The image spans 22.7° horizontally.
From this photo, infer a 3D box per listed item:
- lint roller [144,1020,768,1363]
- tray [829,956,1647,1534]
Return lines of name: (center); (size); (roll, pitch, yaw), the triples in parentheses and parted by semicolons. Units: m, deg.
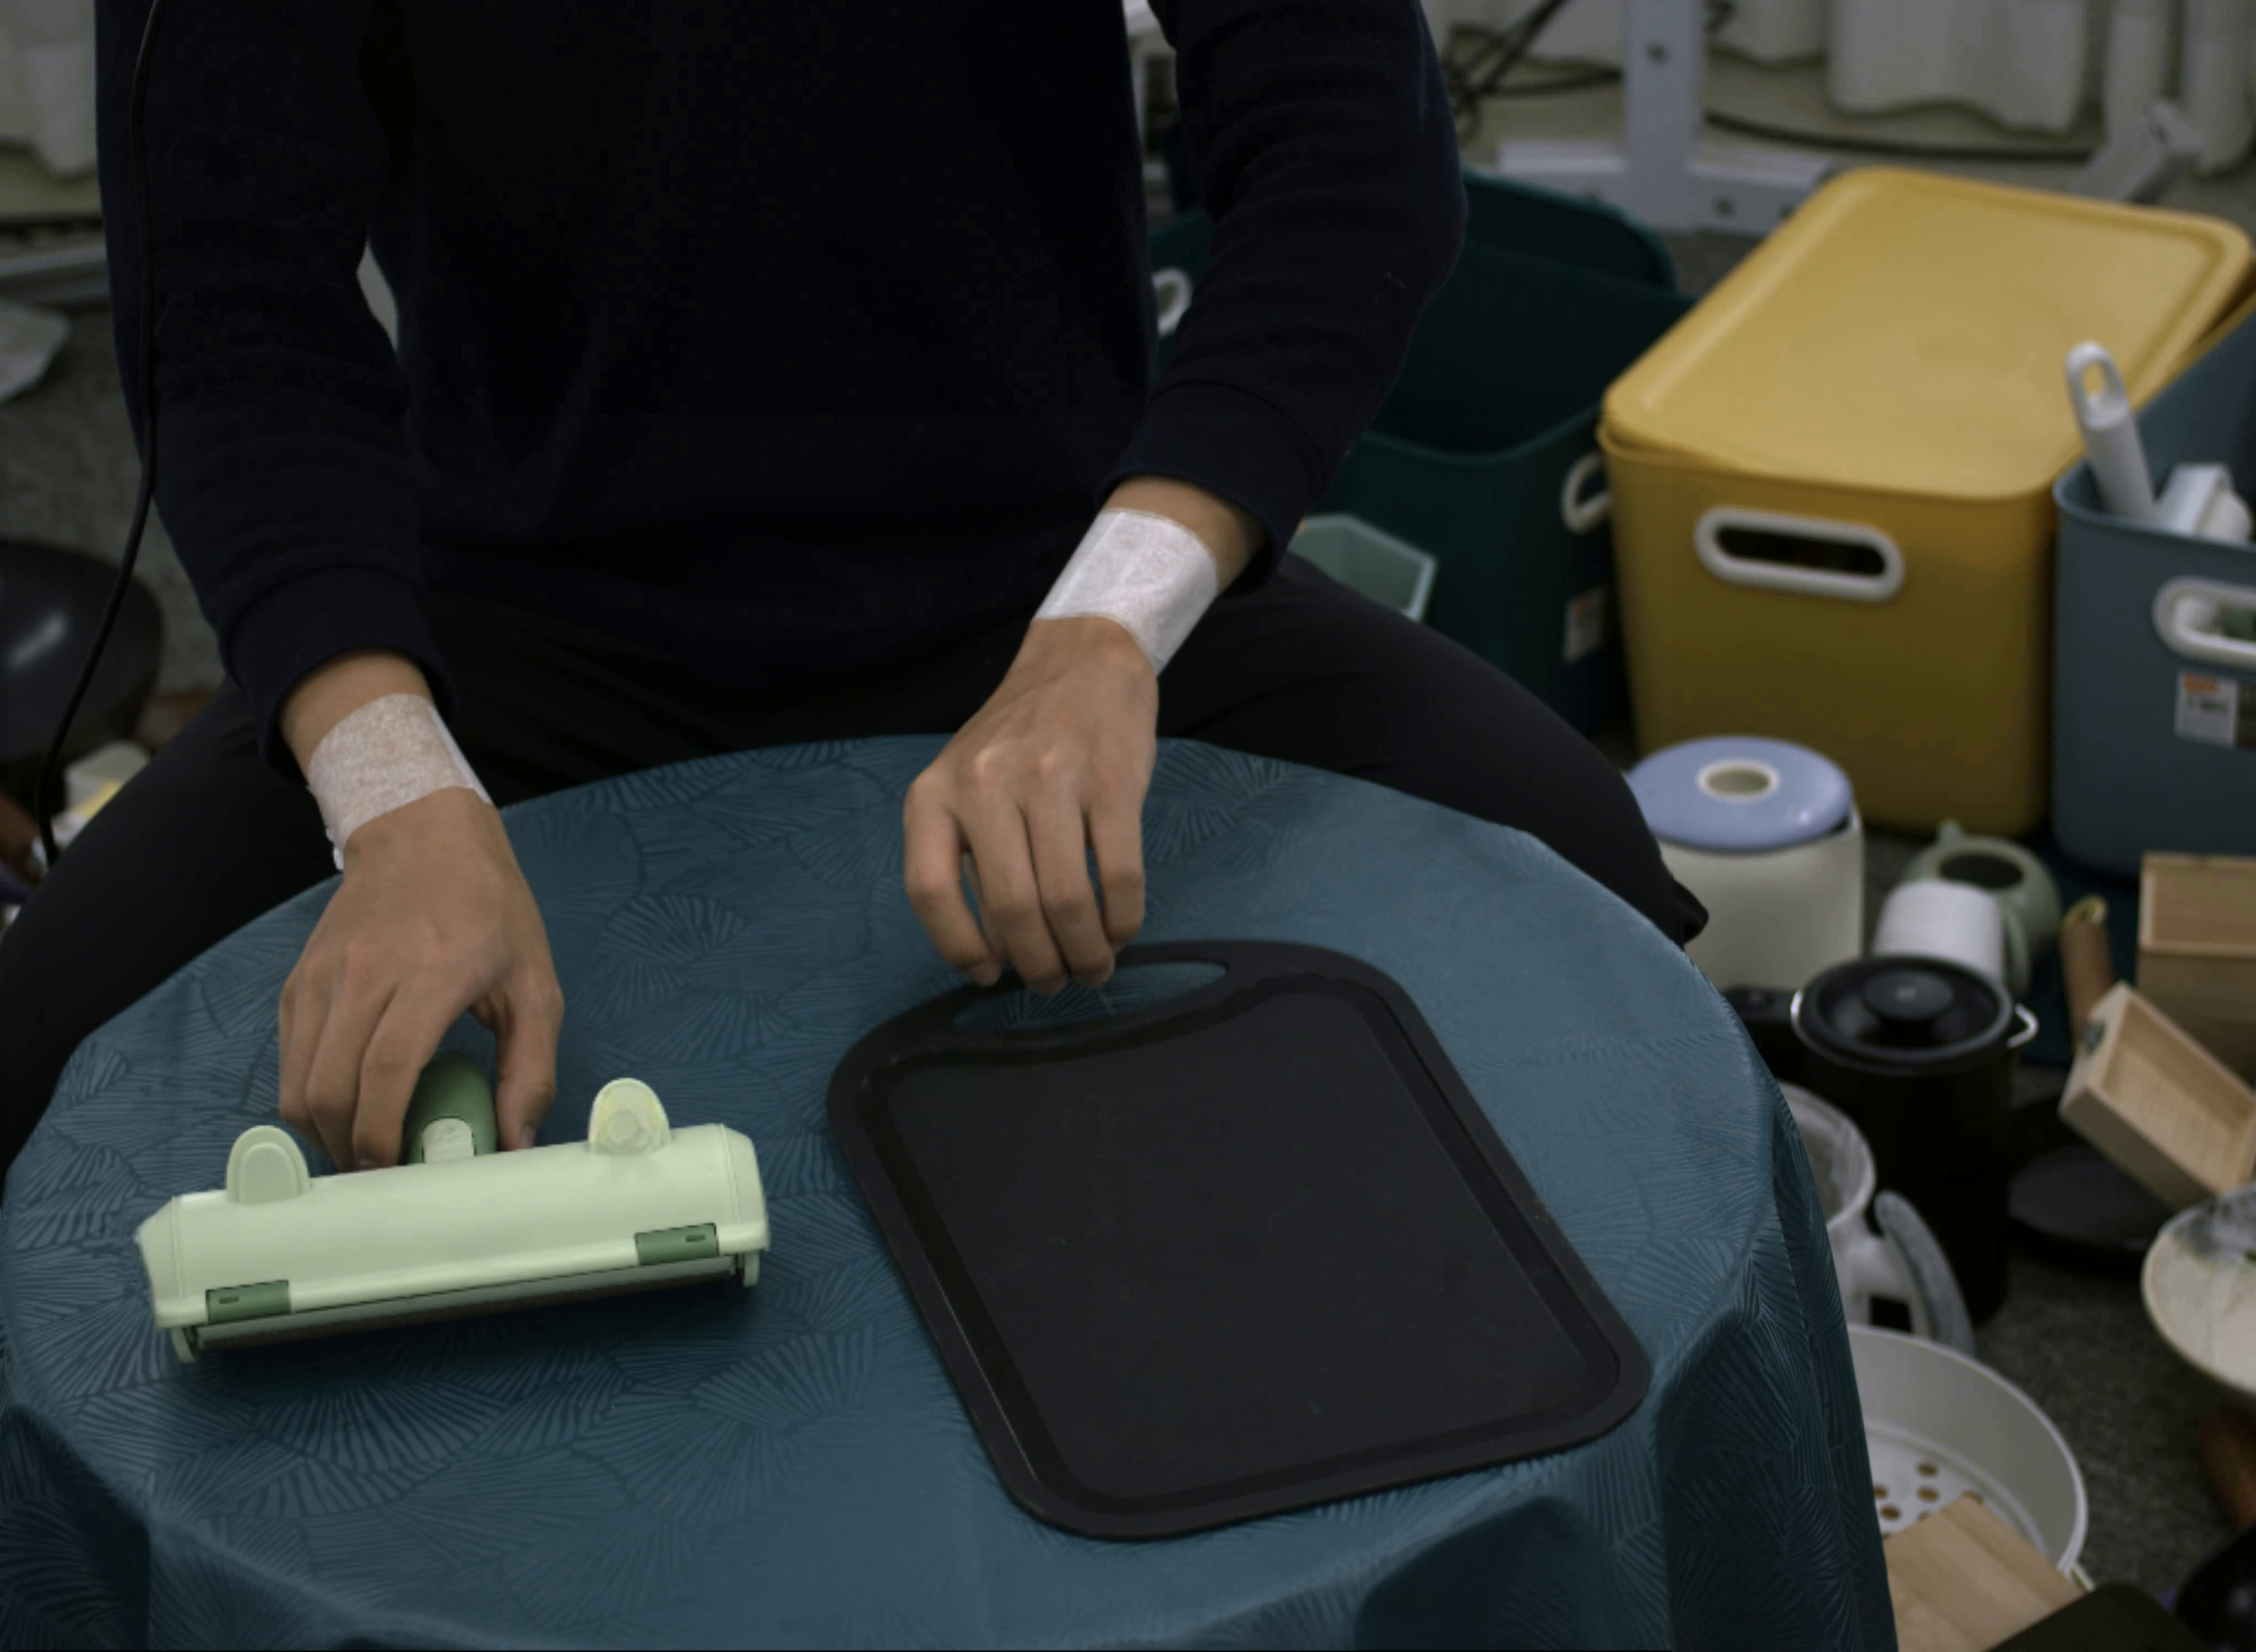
lint roller: (-0.225, 0.097, 1.841); (0.198, 0.081, 0.186); (-7, 34, -9)
tray: (0.026, 0.126, 1.837); (0.211, 0.009, 0.329); (-10, 30, -14)
